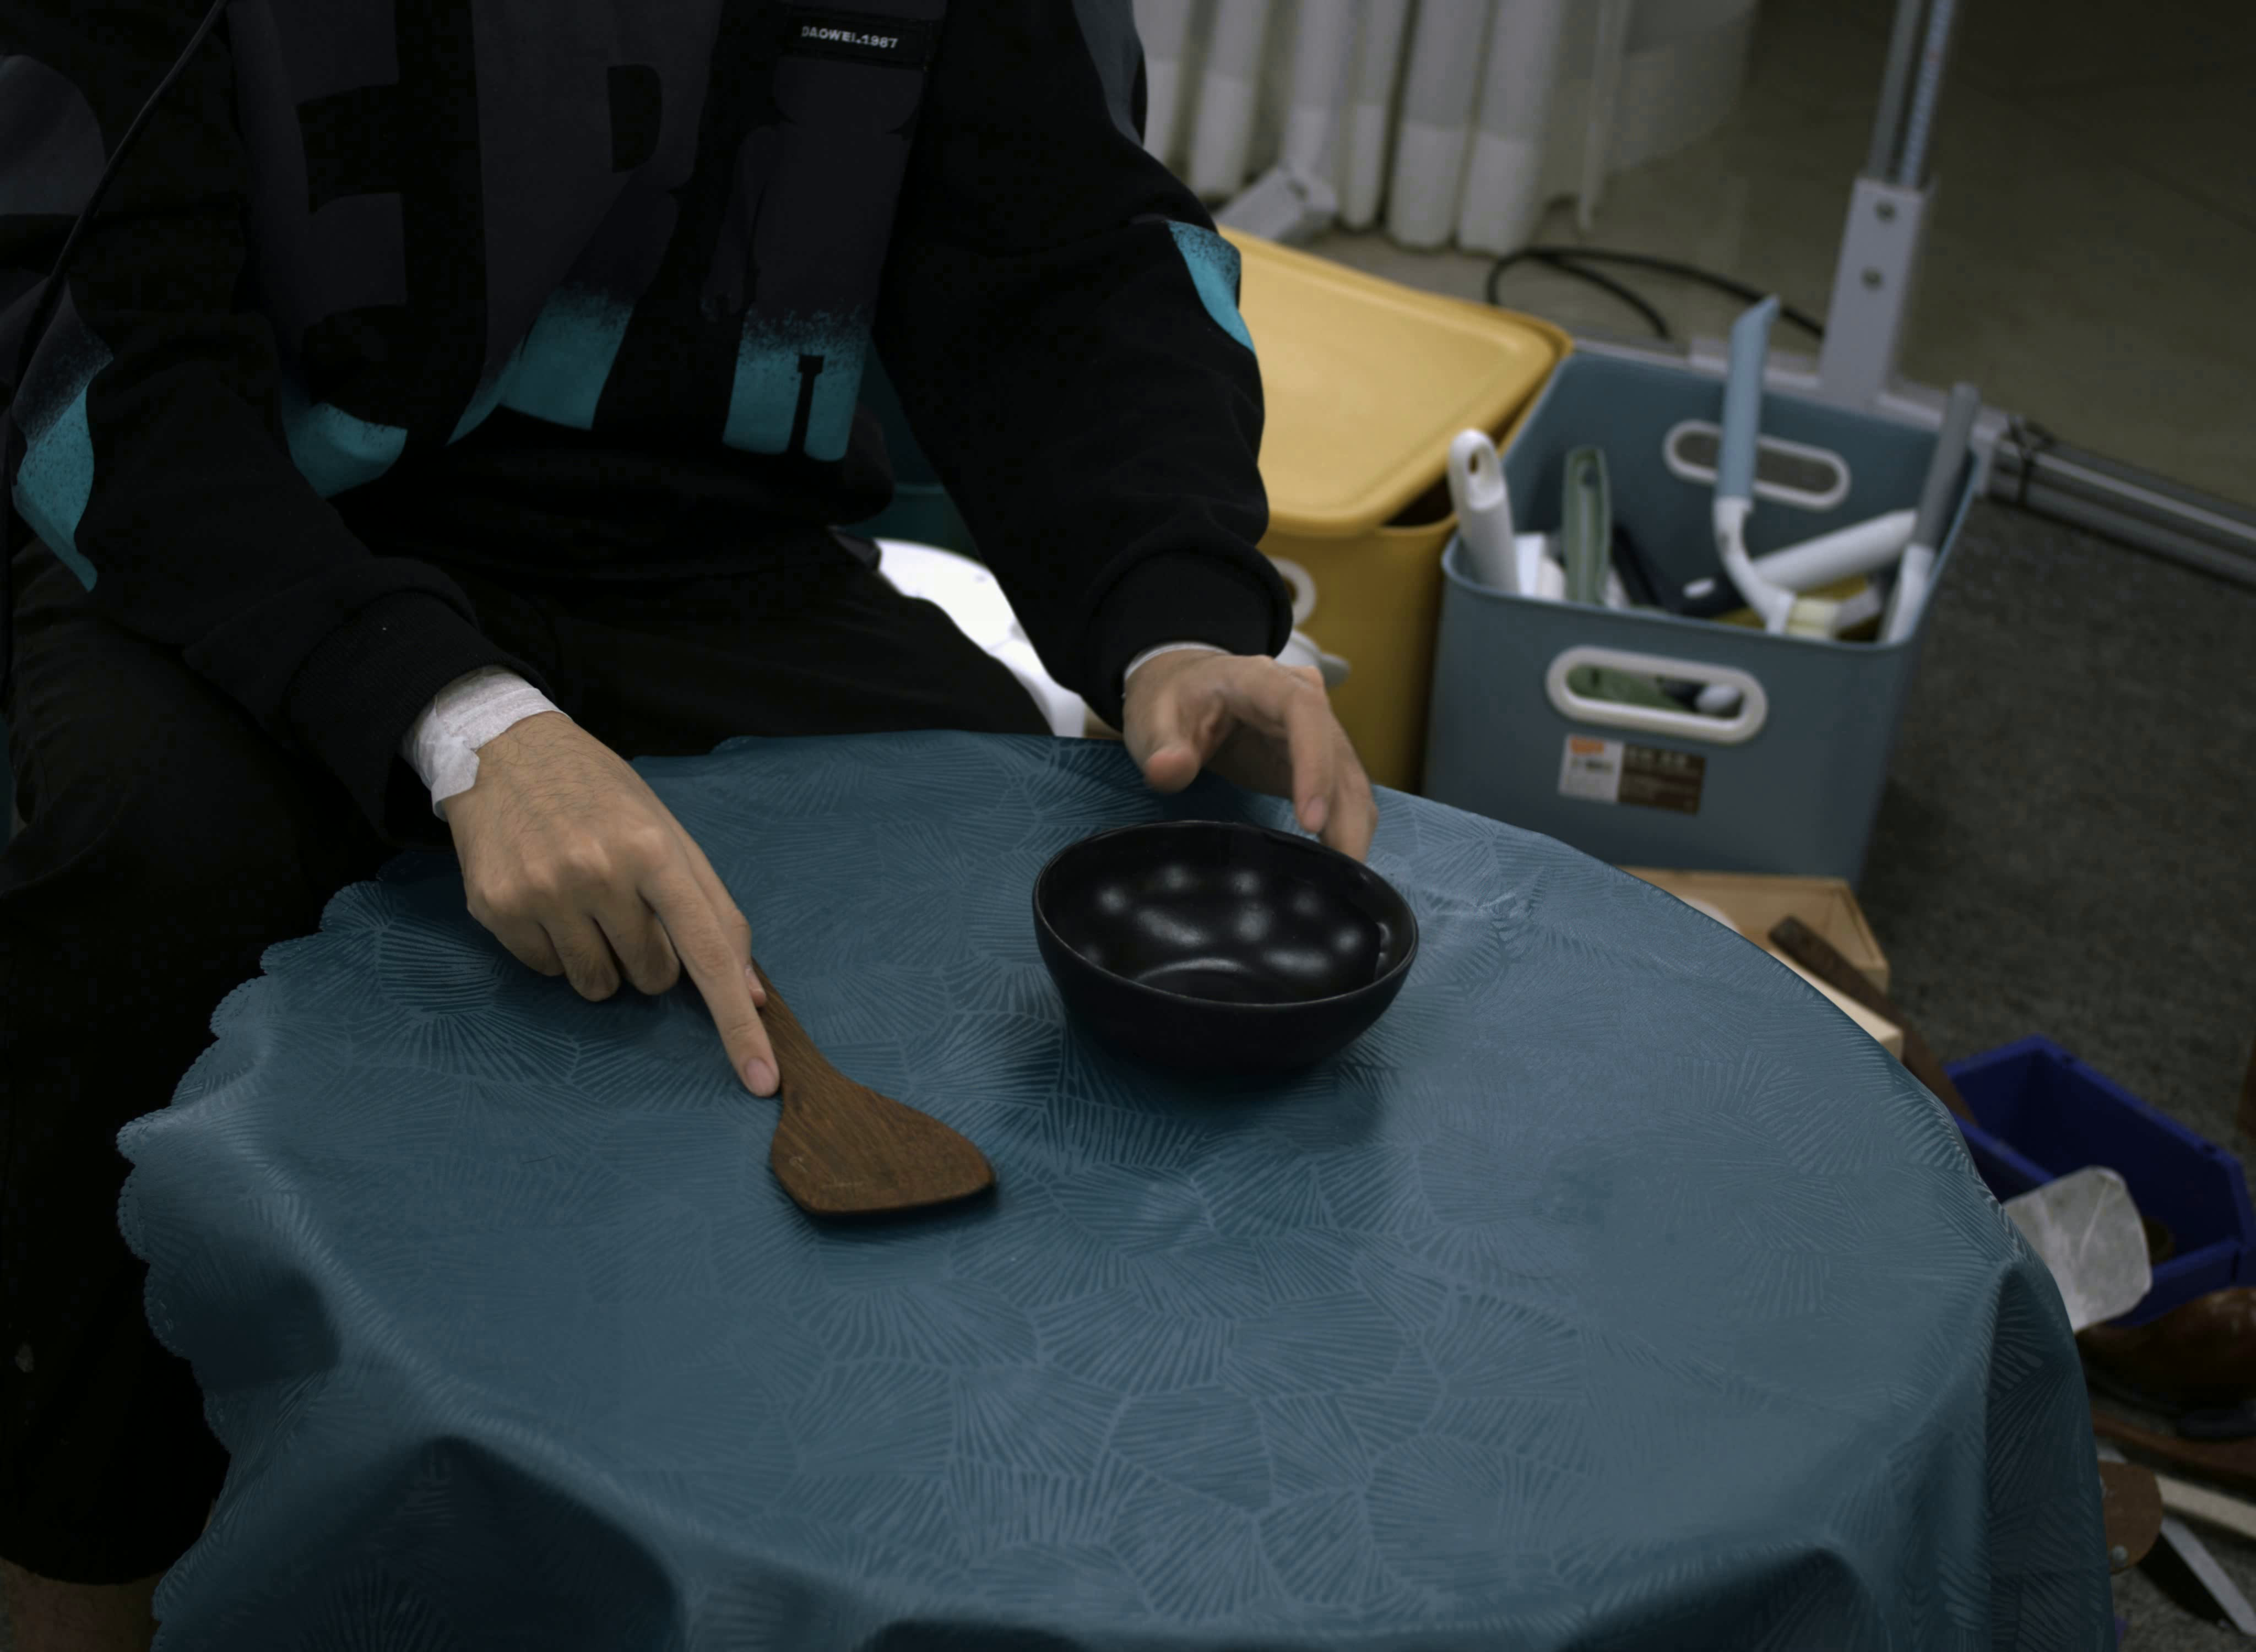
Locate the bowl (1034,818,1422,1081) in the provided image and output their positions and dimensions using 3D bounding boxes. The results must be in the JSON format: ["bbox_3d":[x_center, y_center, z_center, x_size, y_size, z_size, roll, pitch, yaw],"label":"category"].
[{"bbox_3d":[0.034,0.052,1.896,0.139,0.049,0.141,3,29,-2],"label":"bowl"}]

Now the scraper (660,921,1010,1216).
[{"bbox_3d":[-0.114,0.083,1.846,0.075,0.011,0.213,-6,29,-26],"label":"scraper"}]
